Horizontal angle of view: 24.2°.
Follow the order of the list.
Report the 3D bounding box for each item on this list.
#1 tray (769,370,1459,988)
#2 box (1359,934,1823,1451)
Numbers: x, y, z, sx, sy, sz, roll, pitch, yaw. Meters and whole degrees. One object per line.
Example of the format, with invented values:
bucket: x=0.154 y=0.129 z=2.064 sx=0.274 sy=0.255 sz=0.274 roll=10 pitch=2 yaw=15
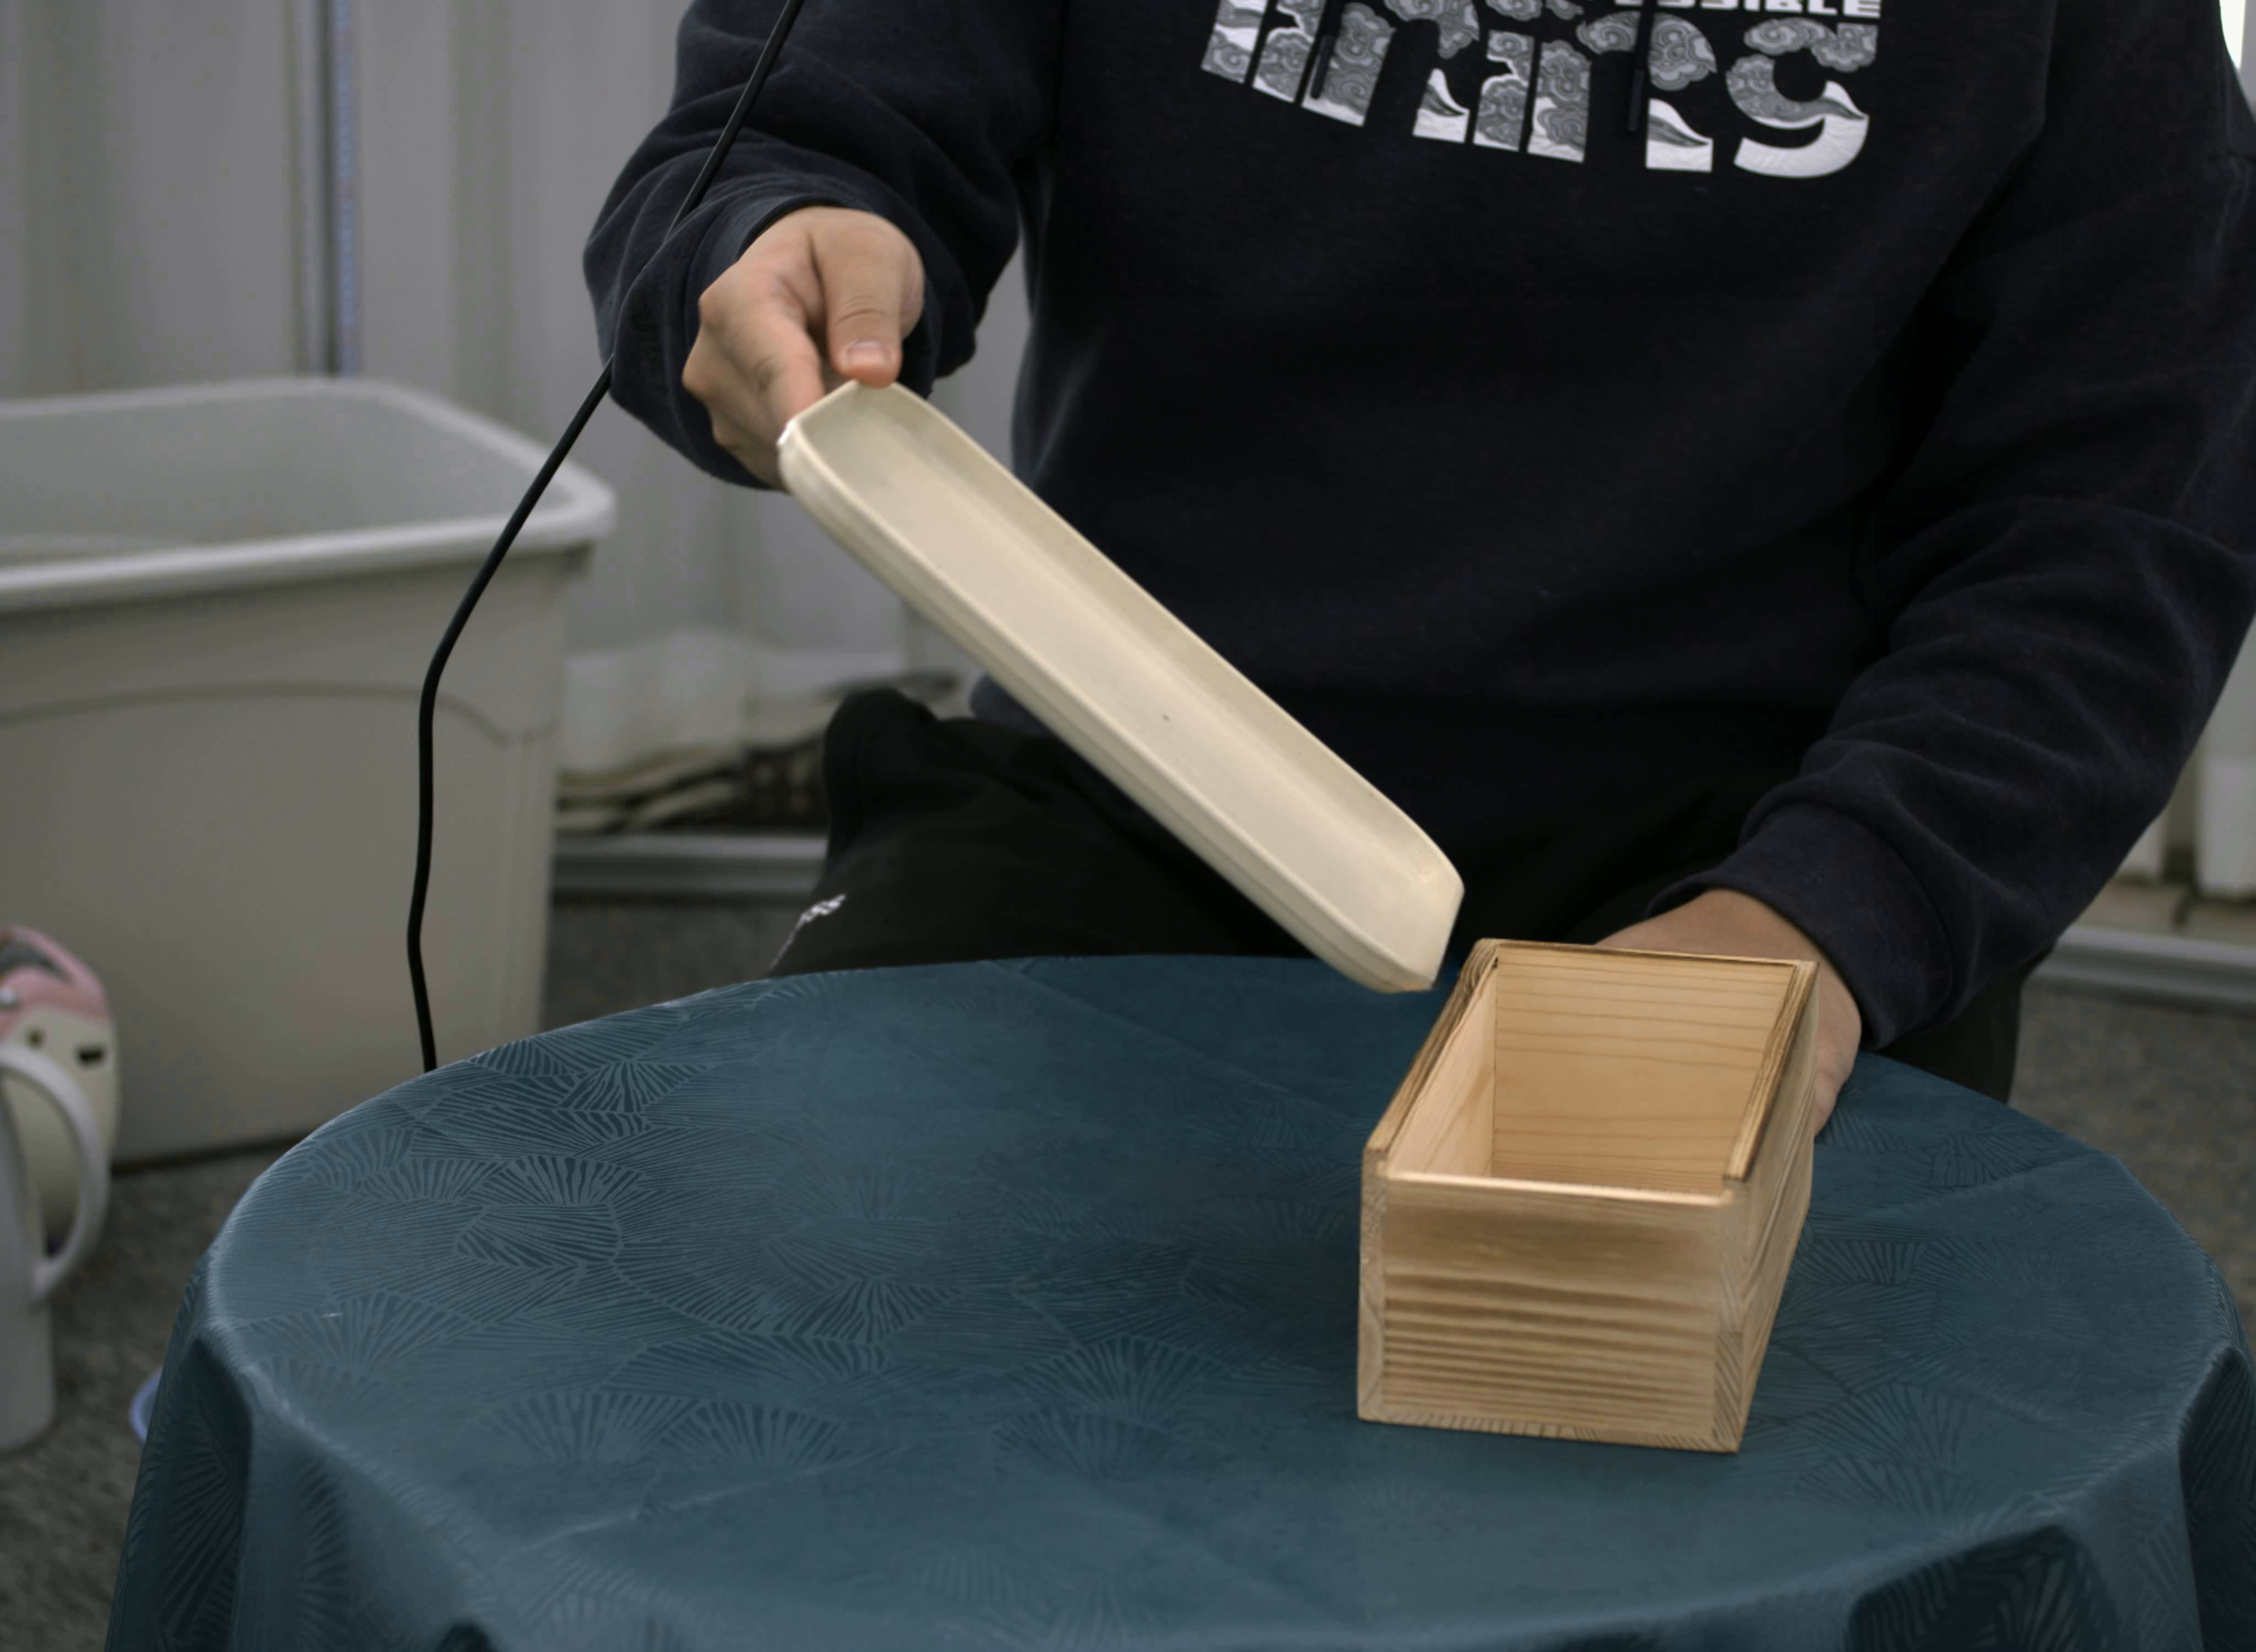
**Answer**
tray: x=-0.003 y=-0.043 z=1.518 sx=0.240 sy=0.017 sz=0.171 roll=40 pitch=13 yaw=-2
box: x=0.137 y=0.101 z=1.523 sx=0.107 sy=0.081 sz=0.211 roll=4 pitch=16 yaw=11
